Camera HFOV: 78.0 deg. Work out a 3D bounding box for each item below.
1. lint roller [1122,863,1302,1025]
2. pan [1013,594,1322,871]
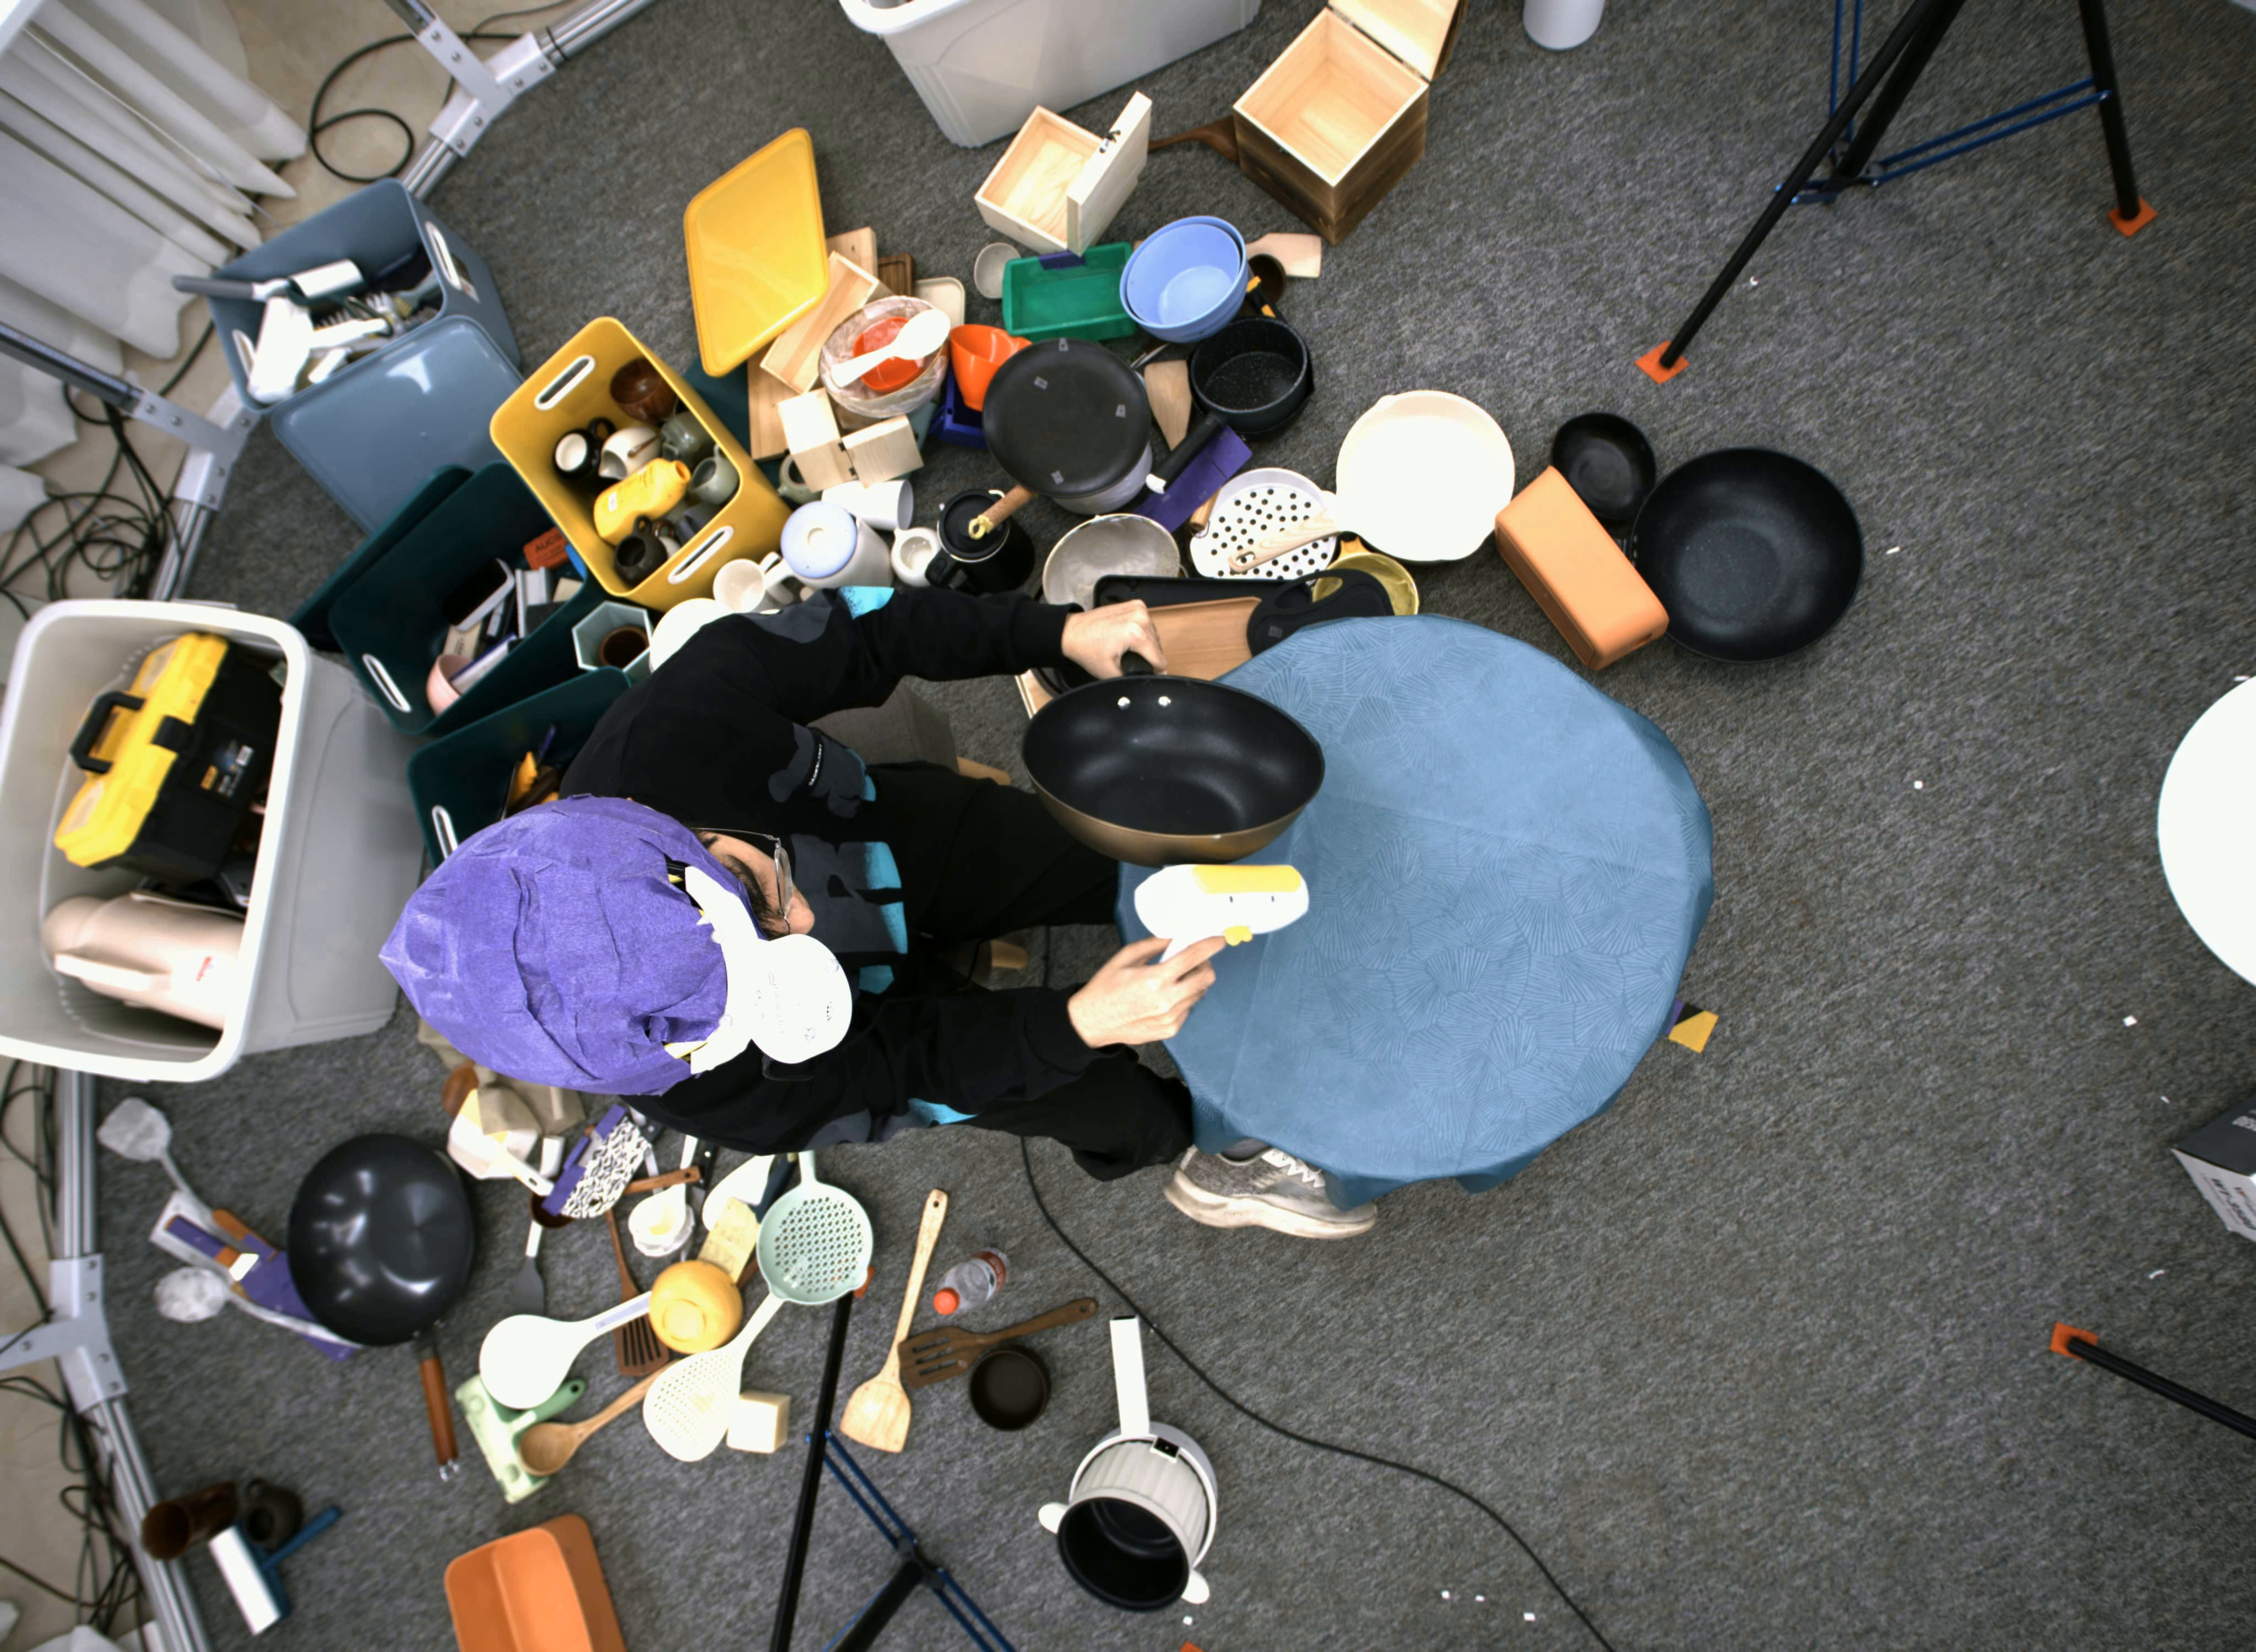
[{"bbox_3d":[0.052,0.108,1.271,0.197,0.191,0.073,-50,62,37],"label":"lint roller"},{"bbox_3d":[0.018,-0.094,1.367,0.287,0.452,0.089,-4,127,-11],"label":"pan"}]
